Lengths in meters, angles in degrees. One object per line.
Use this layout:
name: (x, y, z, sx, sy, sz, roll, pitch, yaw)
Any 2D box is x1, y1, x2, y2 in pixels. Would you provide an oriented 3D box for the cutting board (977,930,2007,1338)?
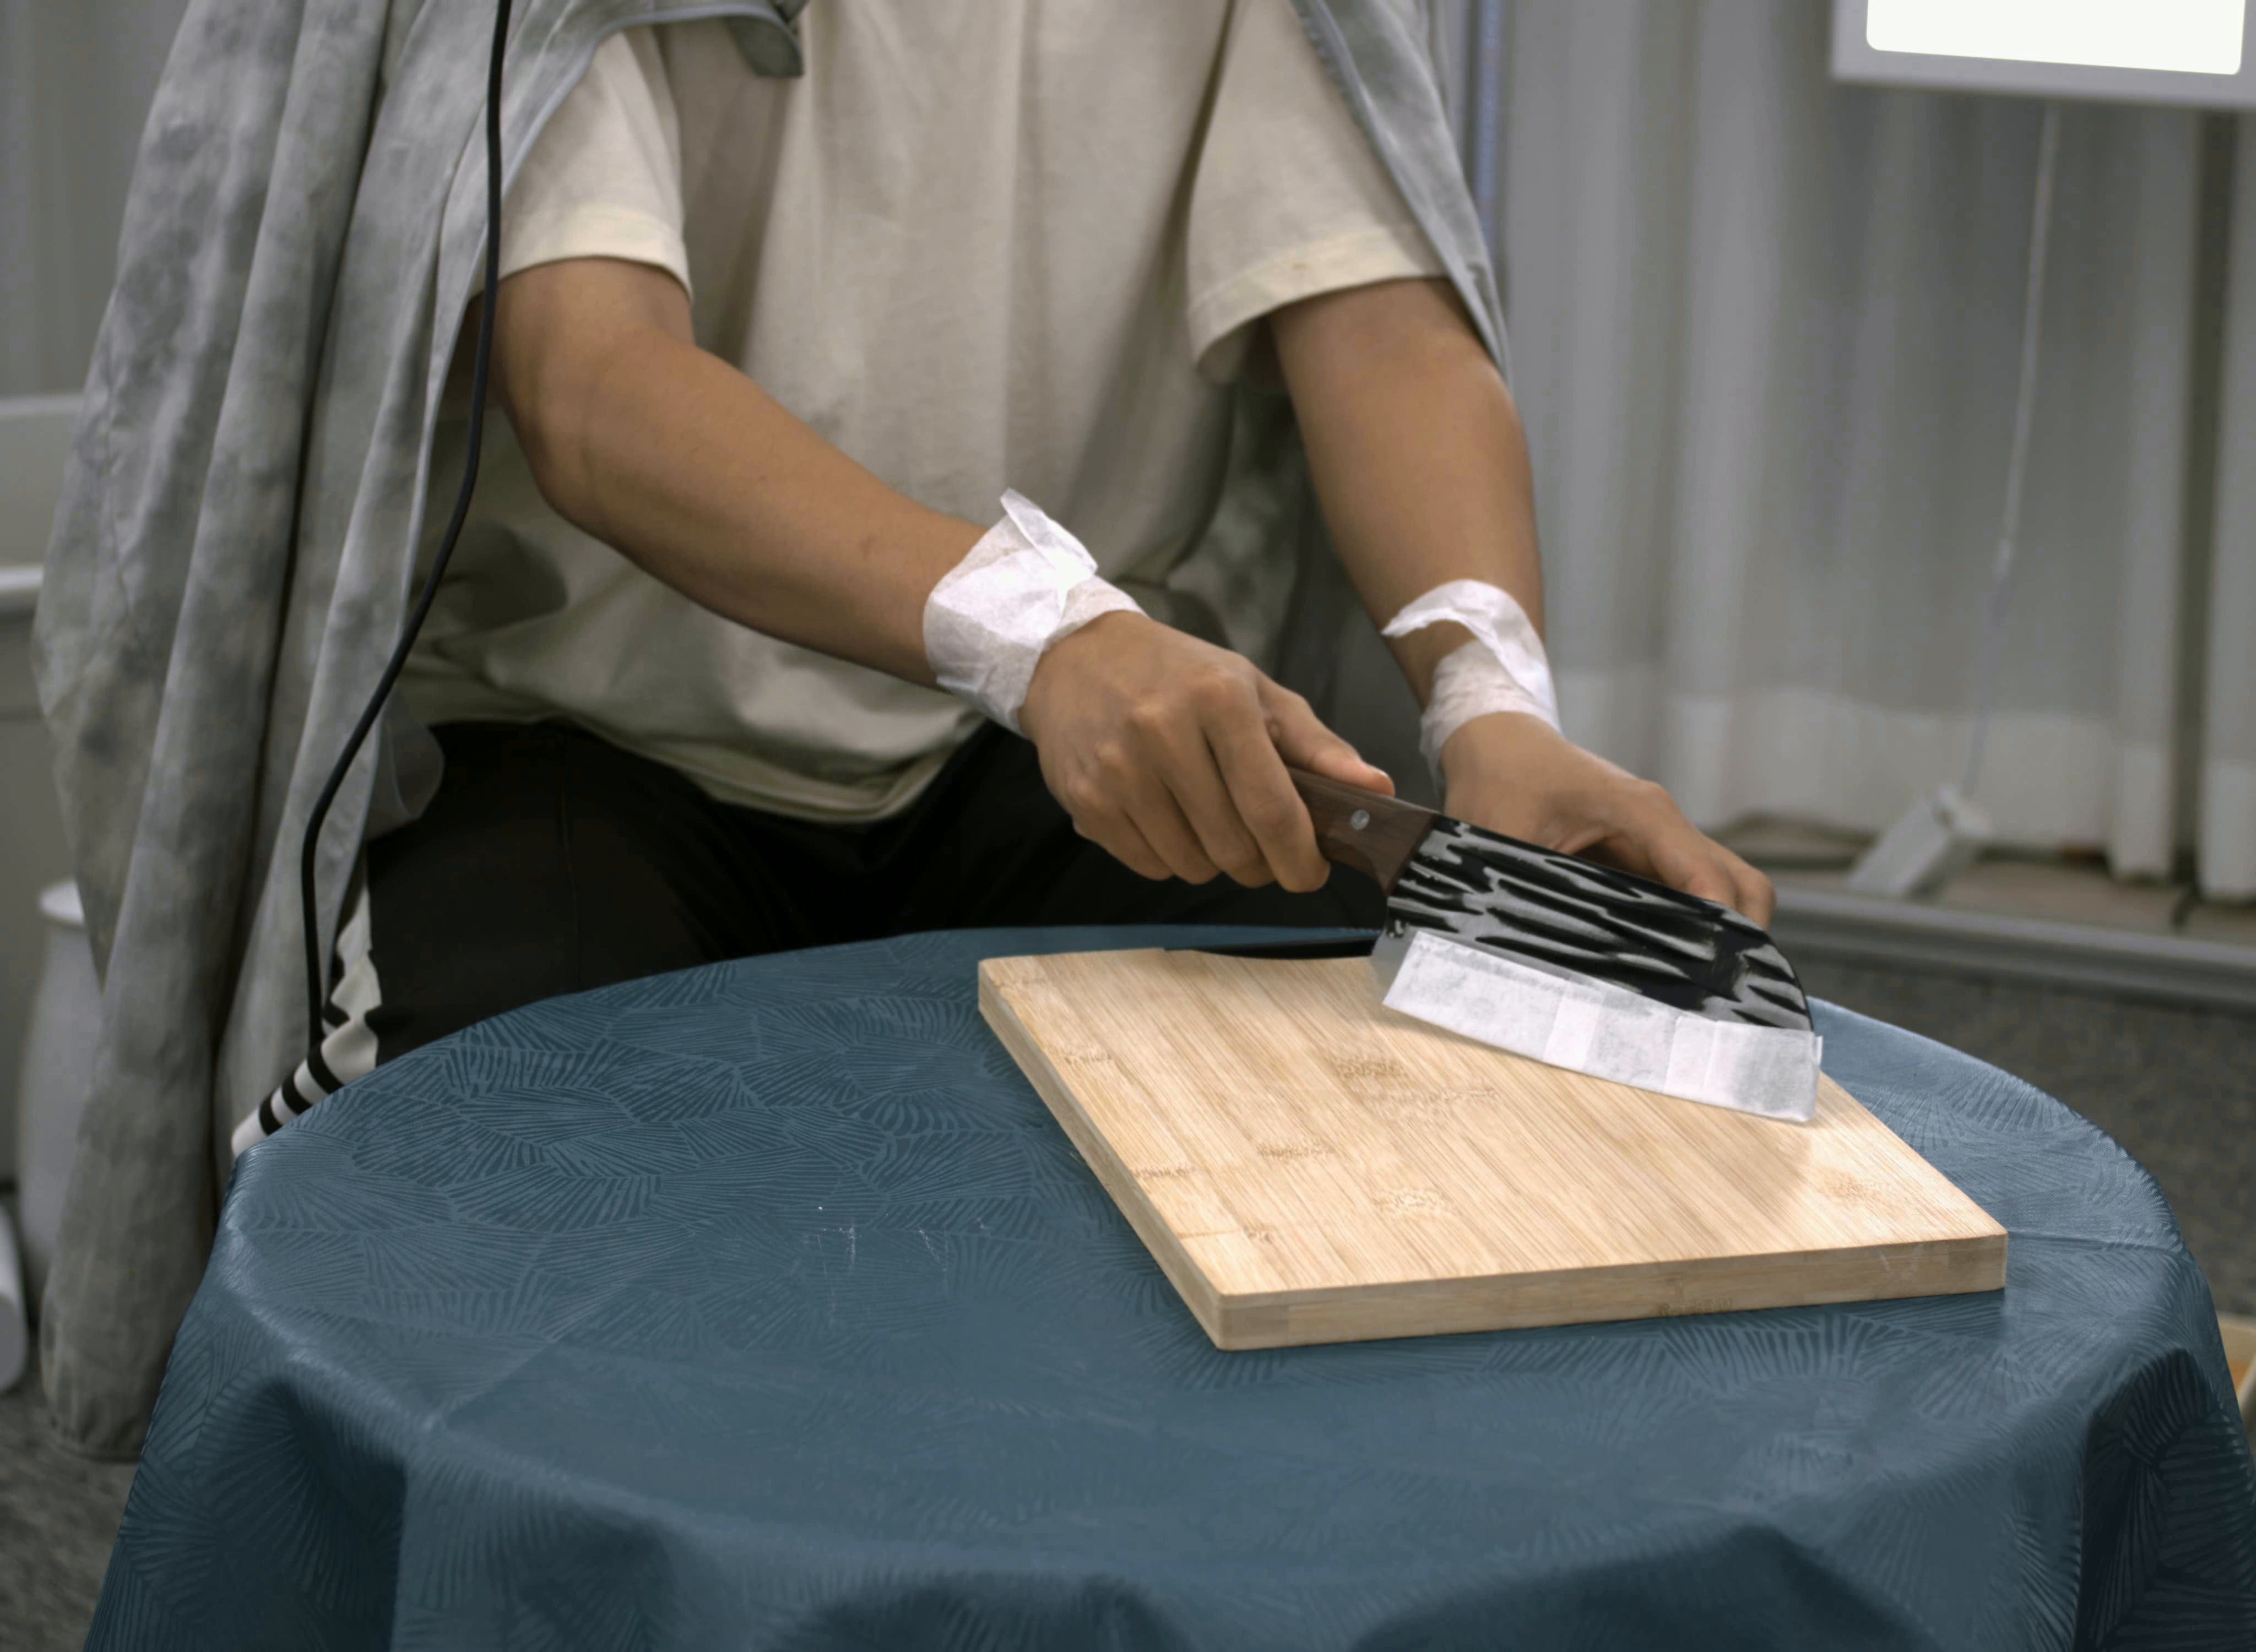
cutting board: (0.103, 0.090, 1.681, 0.251, 0.024, 0.345, -3, 16, -14)

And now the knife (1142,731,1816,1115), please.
knife: (0.109, 0.030, 1.730, 0.295, 0.068, 0.024, 20, -9, 37)
